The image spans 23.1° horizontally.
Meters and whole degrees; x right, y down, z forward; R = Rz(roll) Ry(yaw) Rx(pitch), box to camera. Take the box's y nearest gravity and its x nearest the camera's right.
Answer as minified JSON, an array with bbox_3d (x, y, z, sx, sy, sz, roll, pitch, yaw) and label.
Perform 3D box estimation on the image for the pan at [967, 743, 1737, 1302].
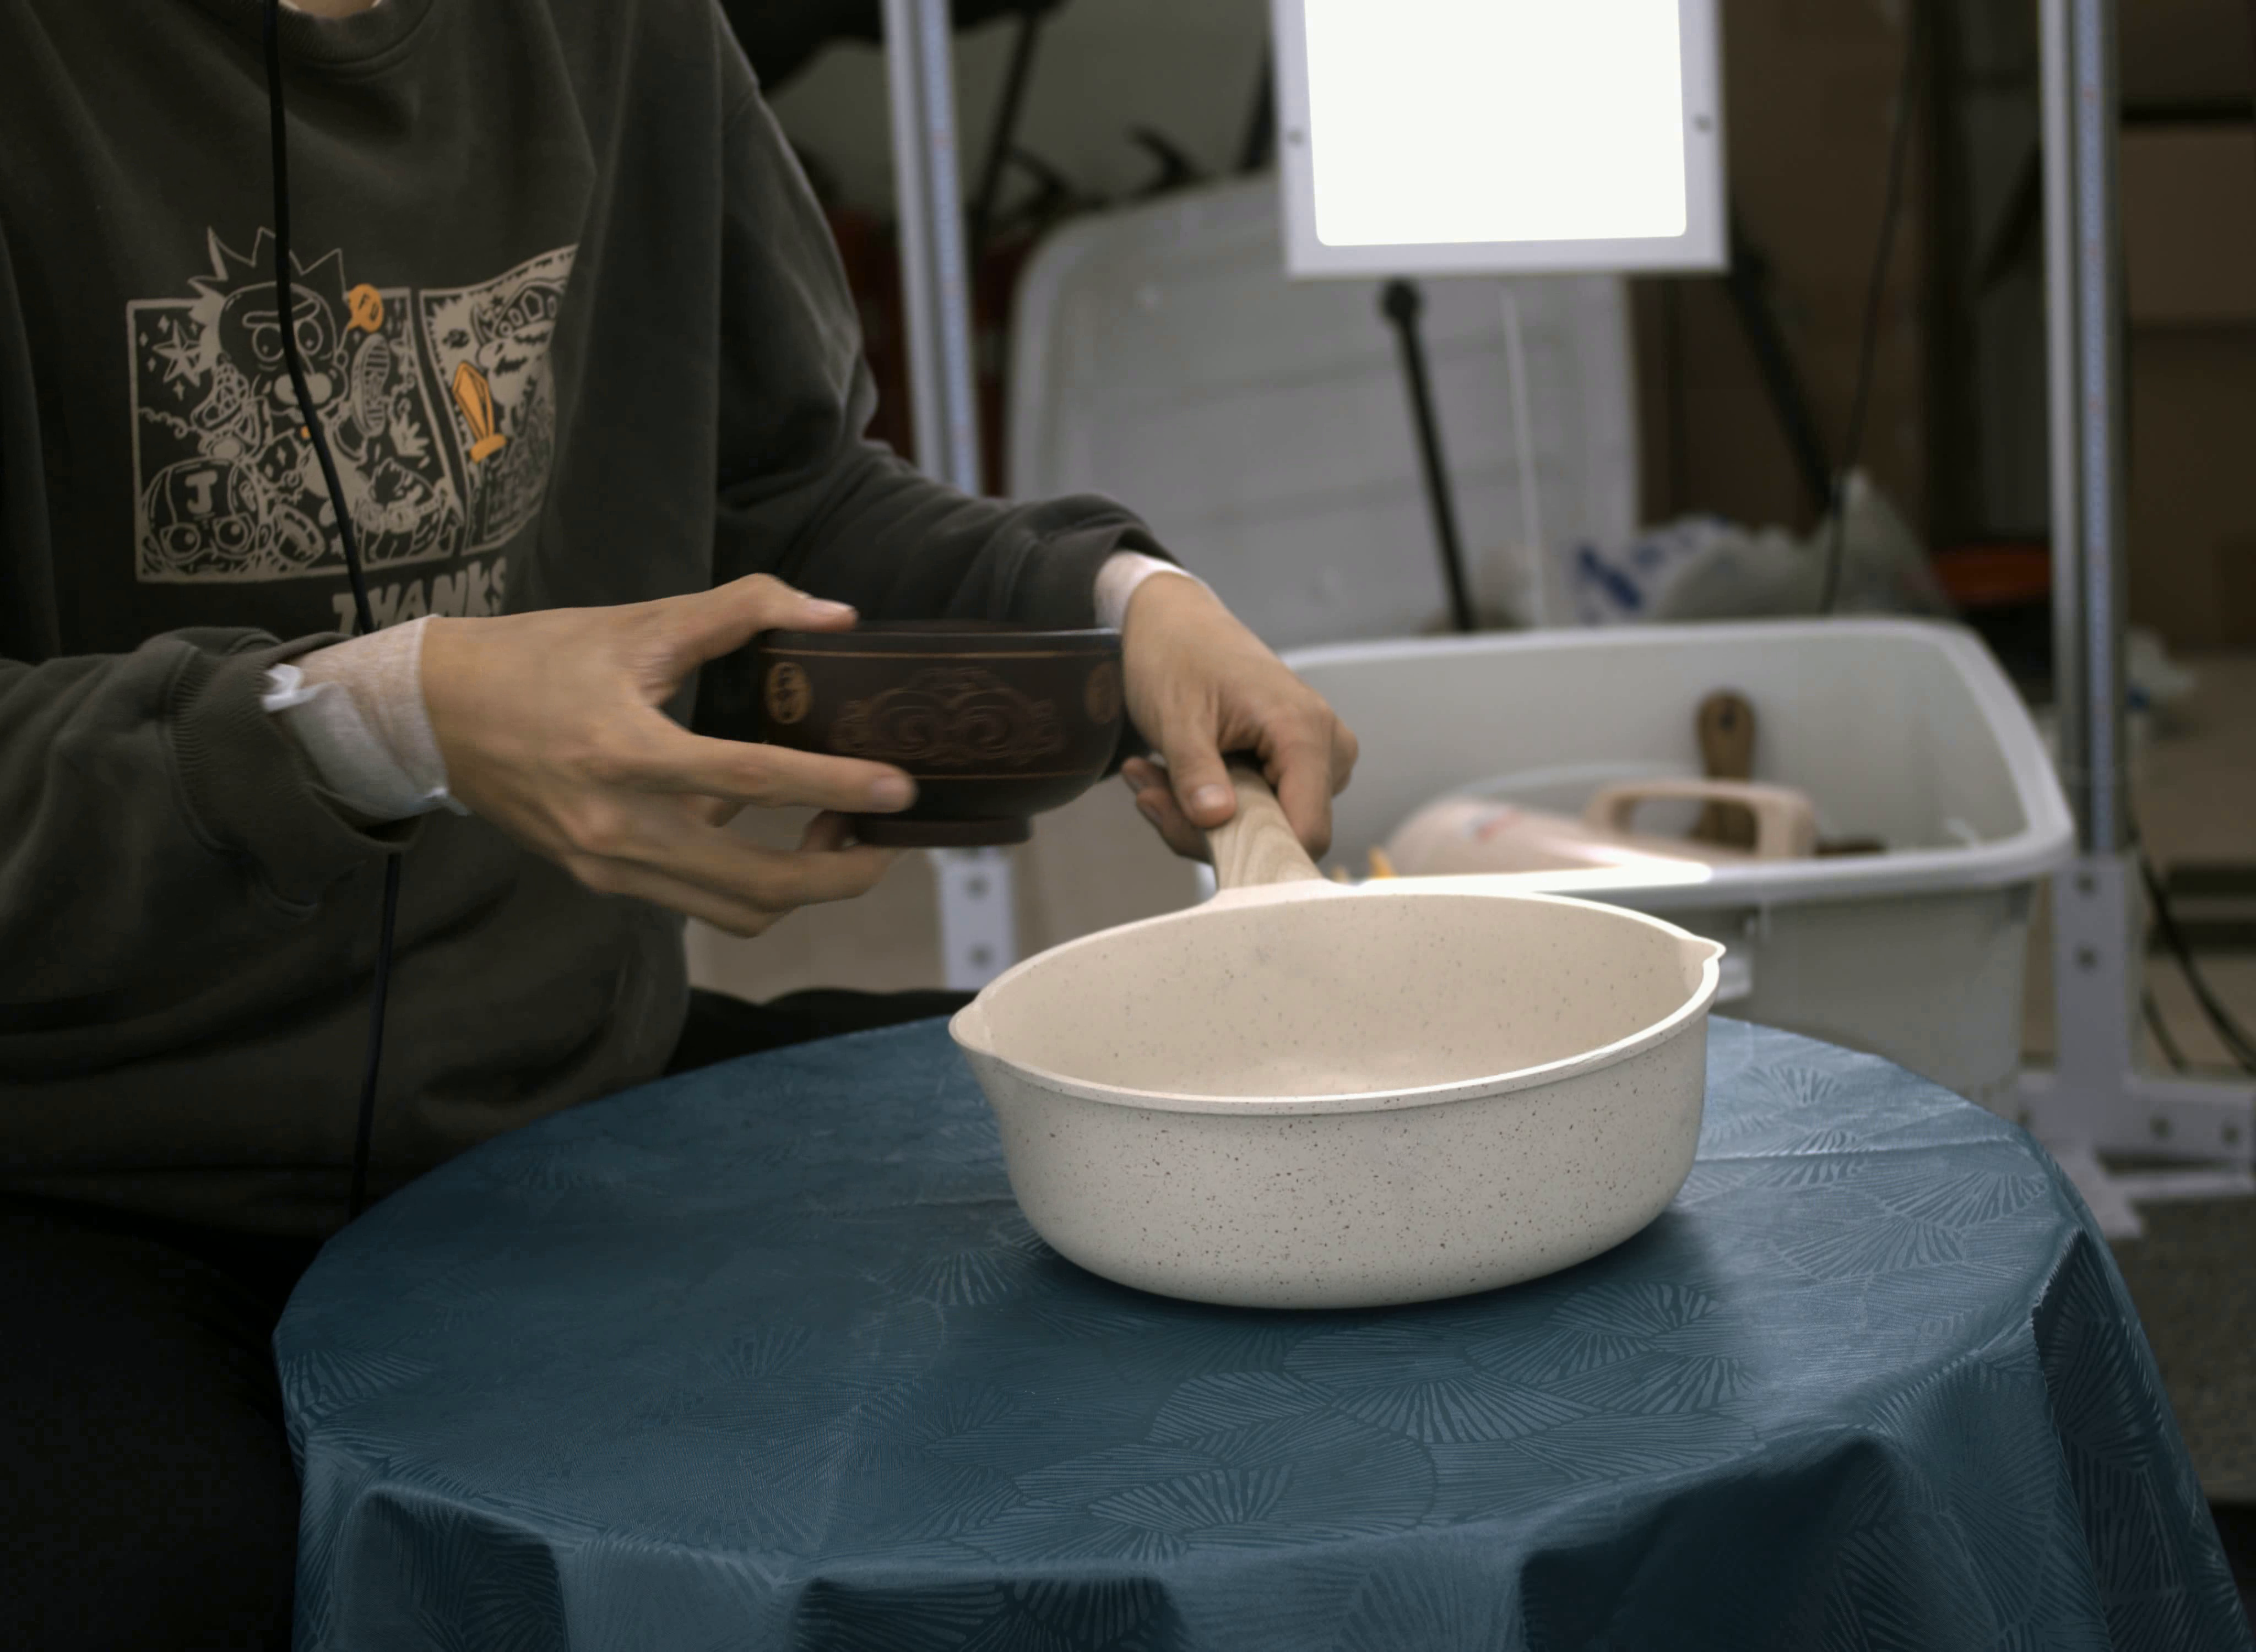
[{"bbox_3d":[0.066,0.063,1.923,0.261,0.102,0.436,-8,14,-6],"label":"pan"}]

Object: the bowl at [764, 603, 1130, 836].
[{"bbox_3d":[-0.057,-0.034,1.758,0.117,0.070,0.118,-3,5,-1],"label":"bowl"}]
